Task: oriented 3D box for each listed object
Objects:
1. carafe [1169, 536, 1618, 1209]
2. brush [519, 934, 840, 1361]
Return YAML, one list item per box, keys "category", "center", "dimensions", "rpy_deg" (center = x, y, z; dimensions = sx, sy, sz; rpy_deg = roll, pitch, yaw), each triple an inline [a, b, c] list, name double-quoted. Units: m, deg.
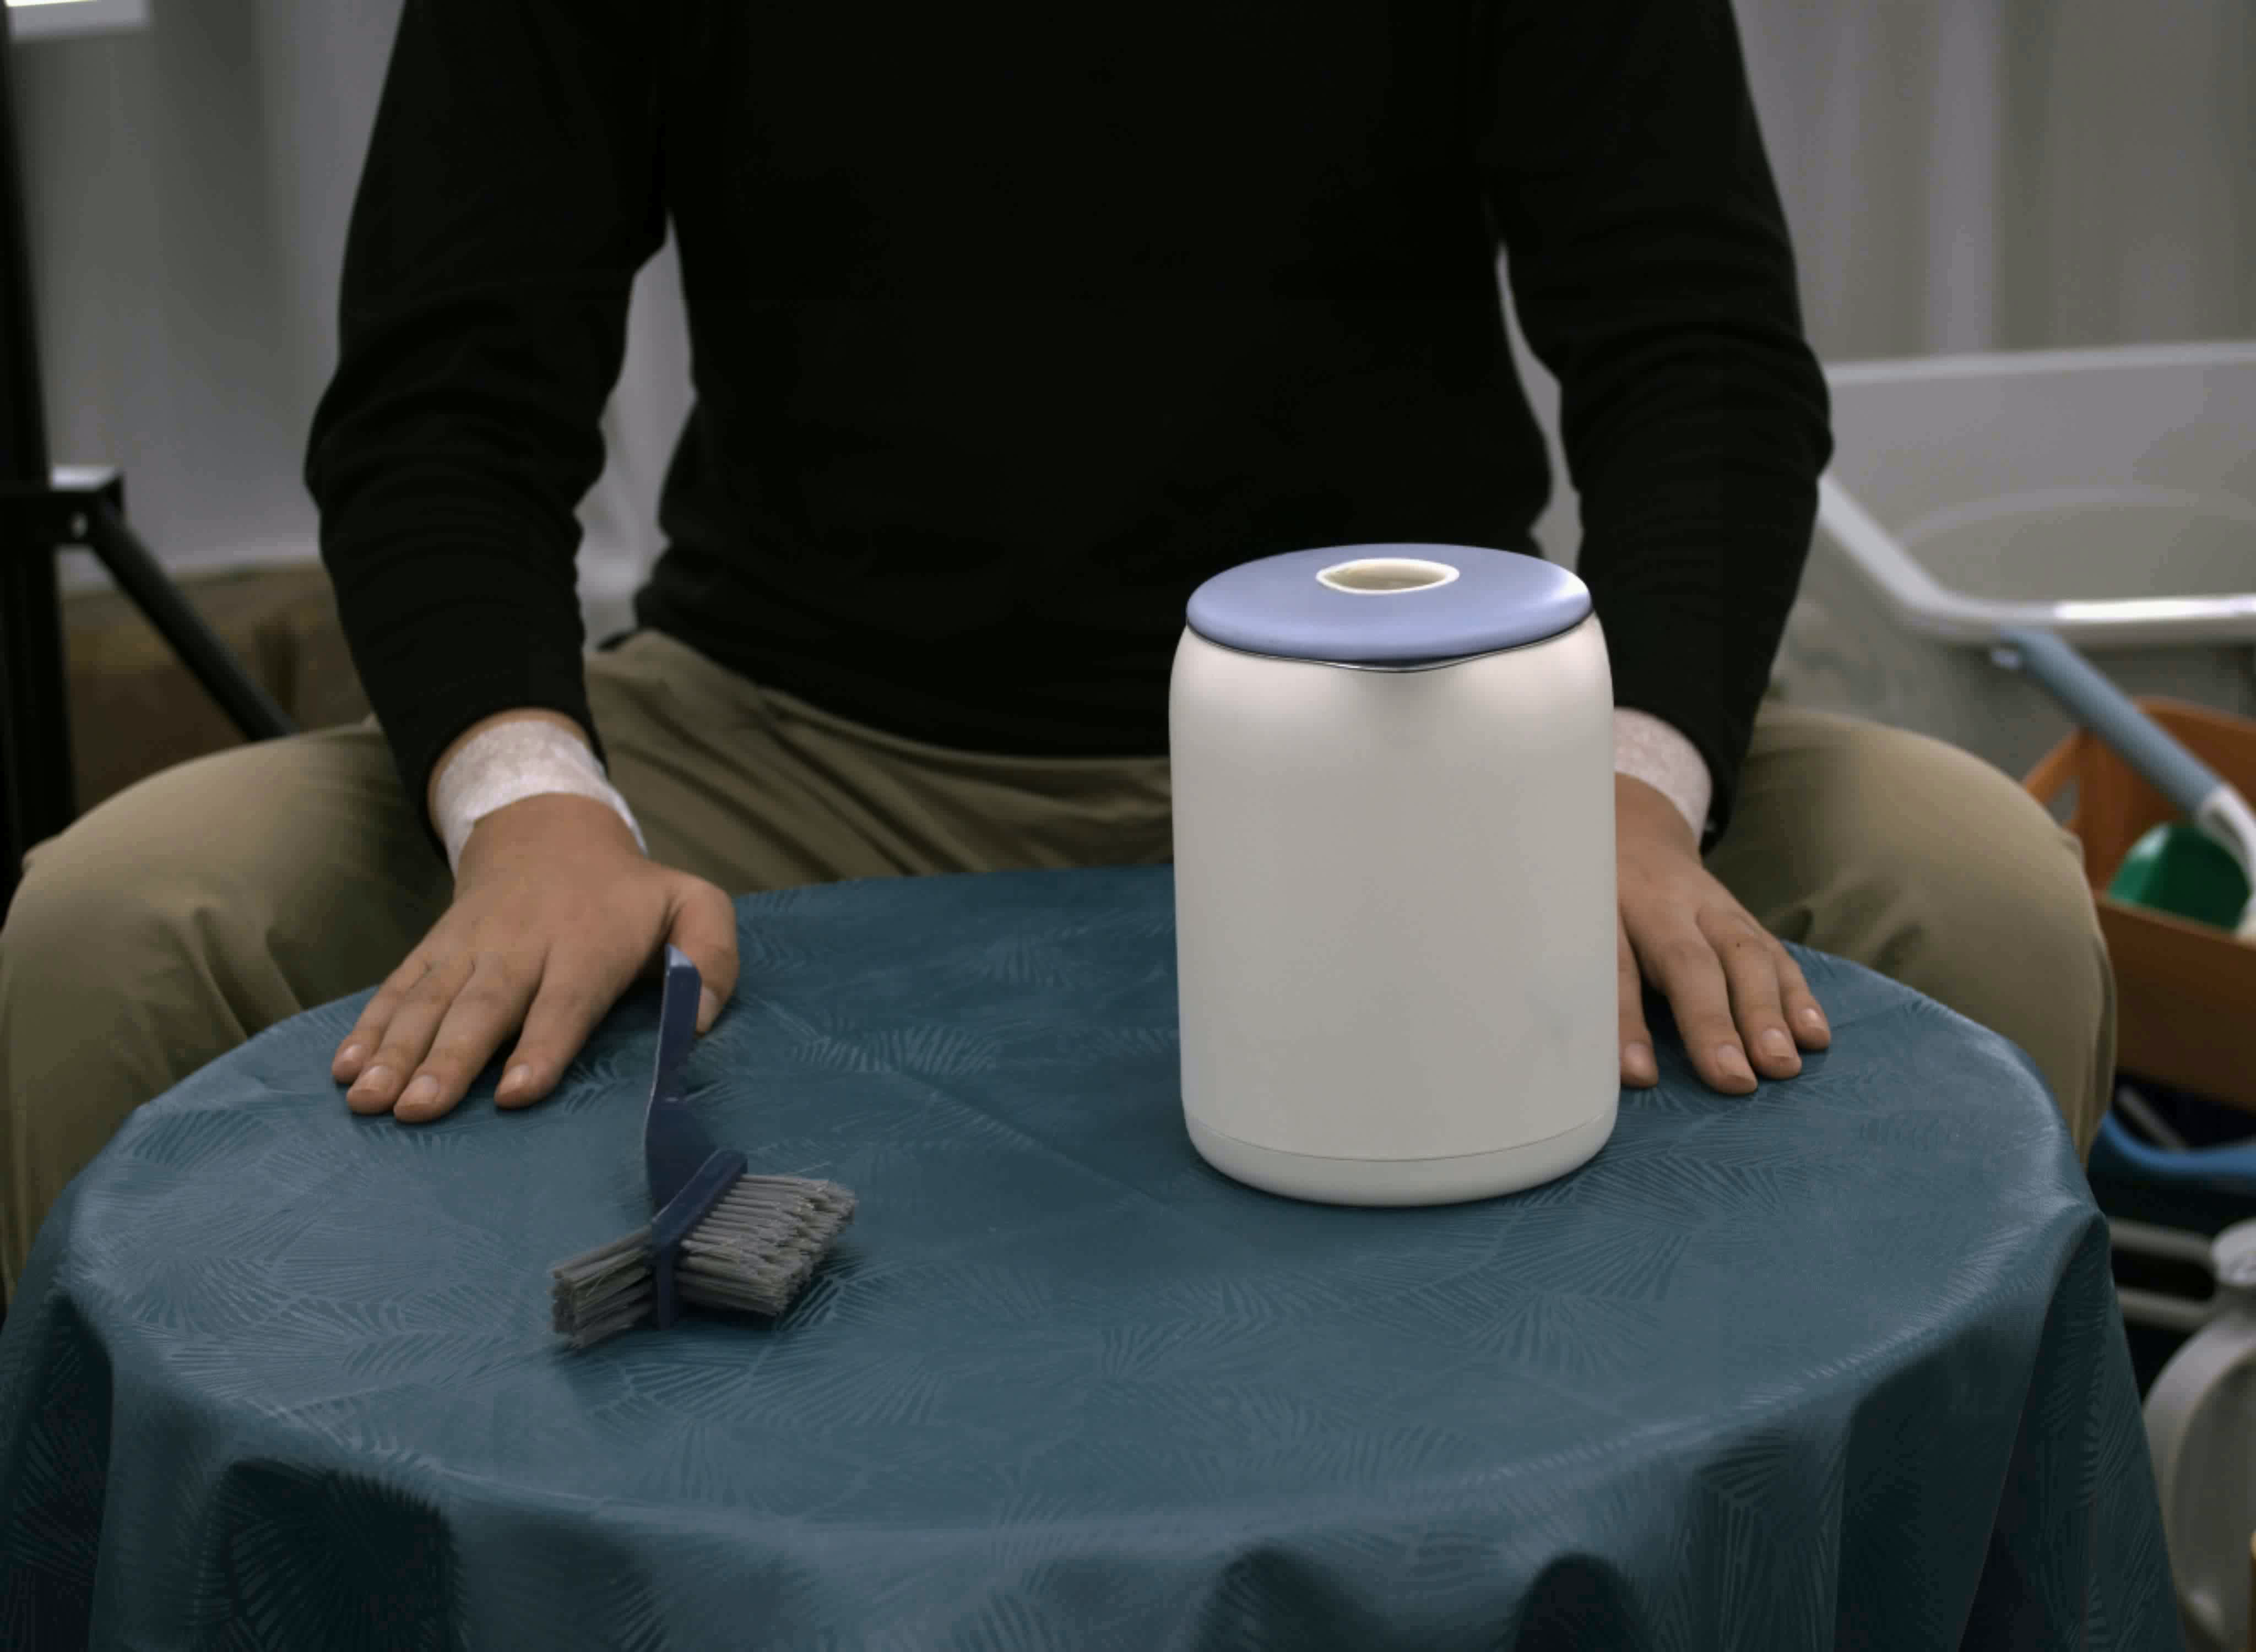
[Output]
- category: "carafe"
  center: [0.077, 0.006, 1.590]
  dimensions: [0.131, 0.182, 0.192]
  rpy_deg: [-2, 14, -2]
- category: "brush"
  center: [-0.141, 0.091, 1.585]
  dimensions: [0.095, 0.033, 0.276]
  rpy_deg: [-8, 17, -8]
